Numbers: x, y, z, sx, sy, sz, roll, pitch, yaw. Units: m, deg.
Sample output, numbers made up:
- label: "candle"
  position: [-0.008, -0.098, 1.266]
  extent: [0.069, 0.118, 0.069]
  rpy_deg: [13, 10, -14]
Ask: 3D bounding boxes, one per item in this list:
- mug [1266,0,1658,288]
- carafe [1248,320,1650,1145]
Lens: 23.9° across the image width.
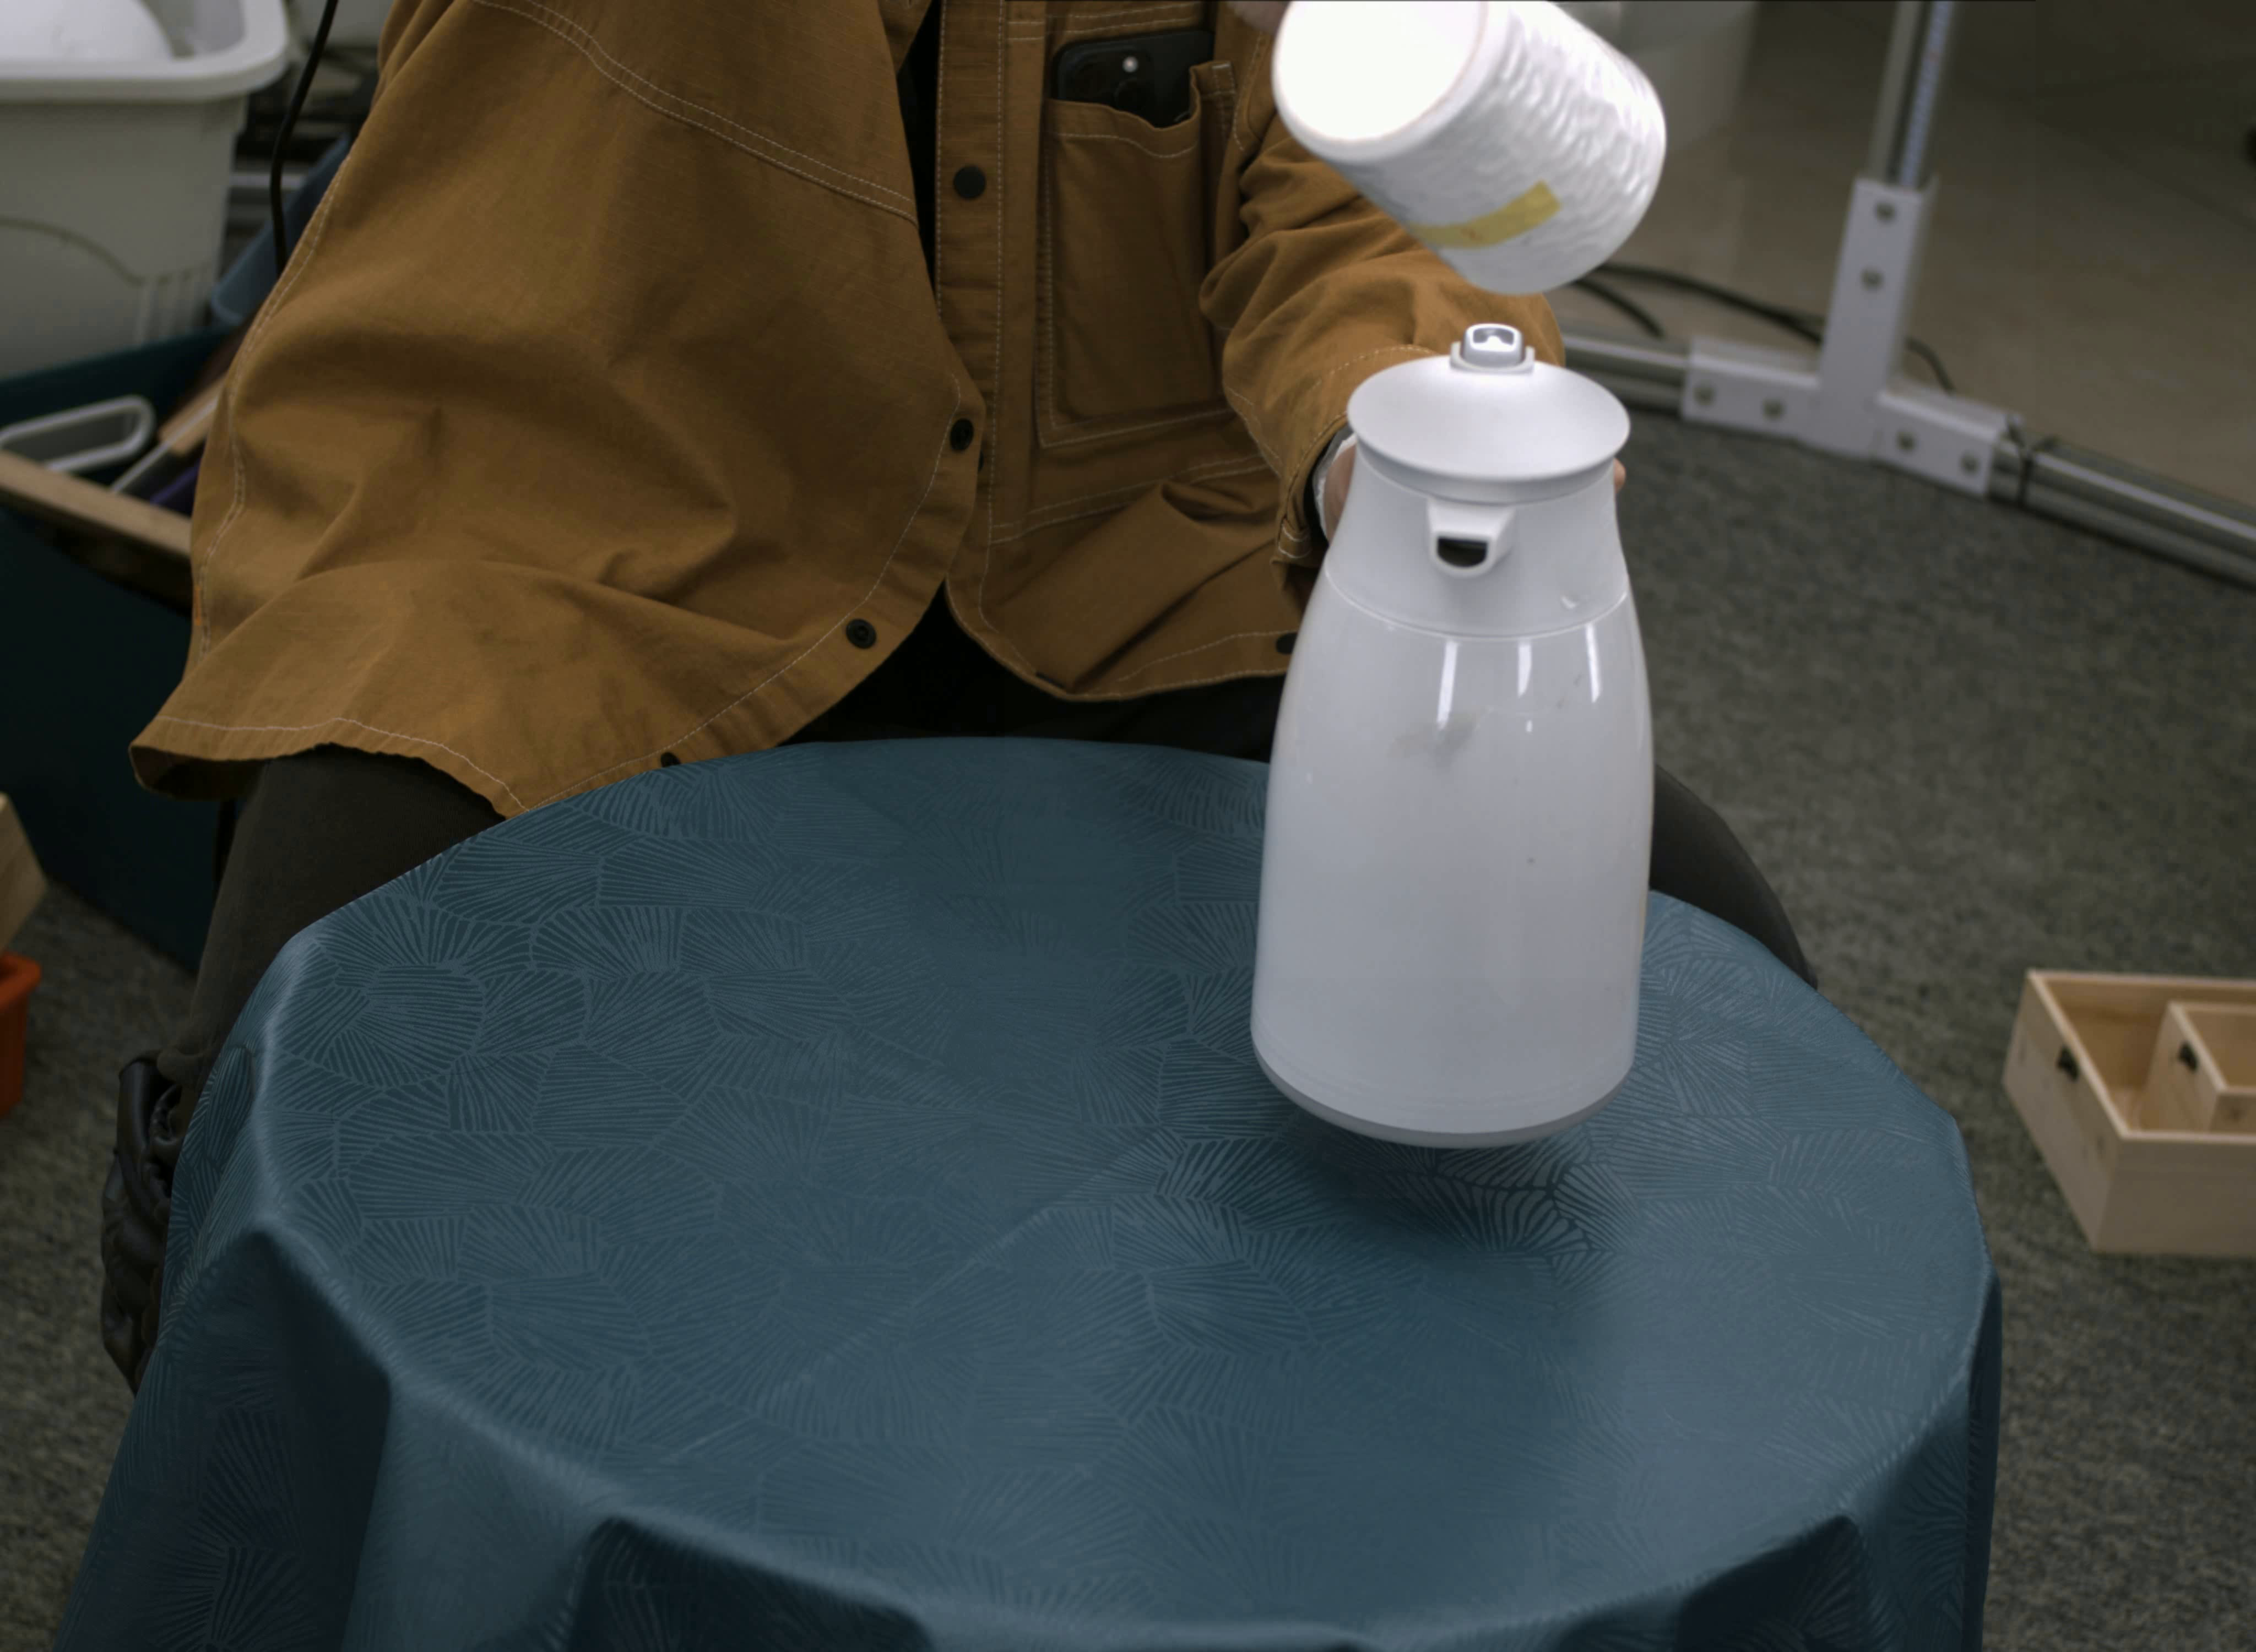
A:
- label: "mug"
  position: [0.096, -0.236, 1.638]
  extent: [0.101, 0.085, 0.119]
  rpy_deg: [32, 28, -50]
- label: "carafe"
  position: [0.112, -0.042, 1.785]
  extent: [0.132, 0.247, 0.168]
  rpy_deg: [5, 28, 7]
